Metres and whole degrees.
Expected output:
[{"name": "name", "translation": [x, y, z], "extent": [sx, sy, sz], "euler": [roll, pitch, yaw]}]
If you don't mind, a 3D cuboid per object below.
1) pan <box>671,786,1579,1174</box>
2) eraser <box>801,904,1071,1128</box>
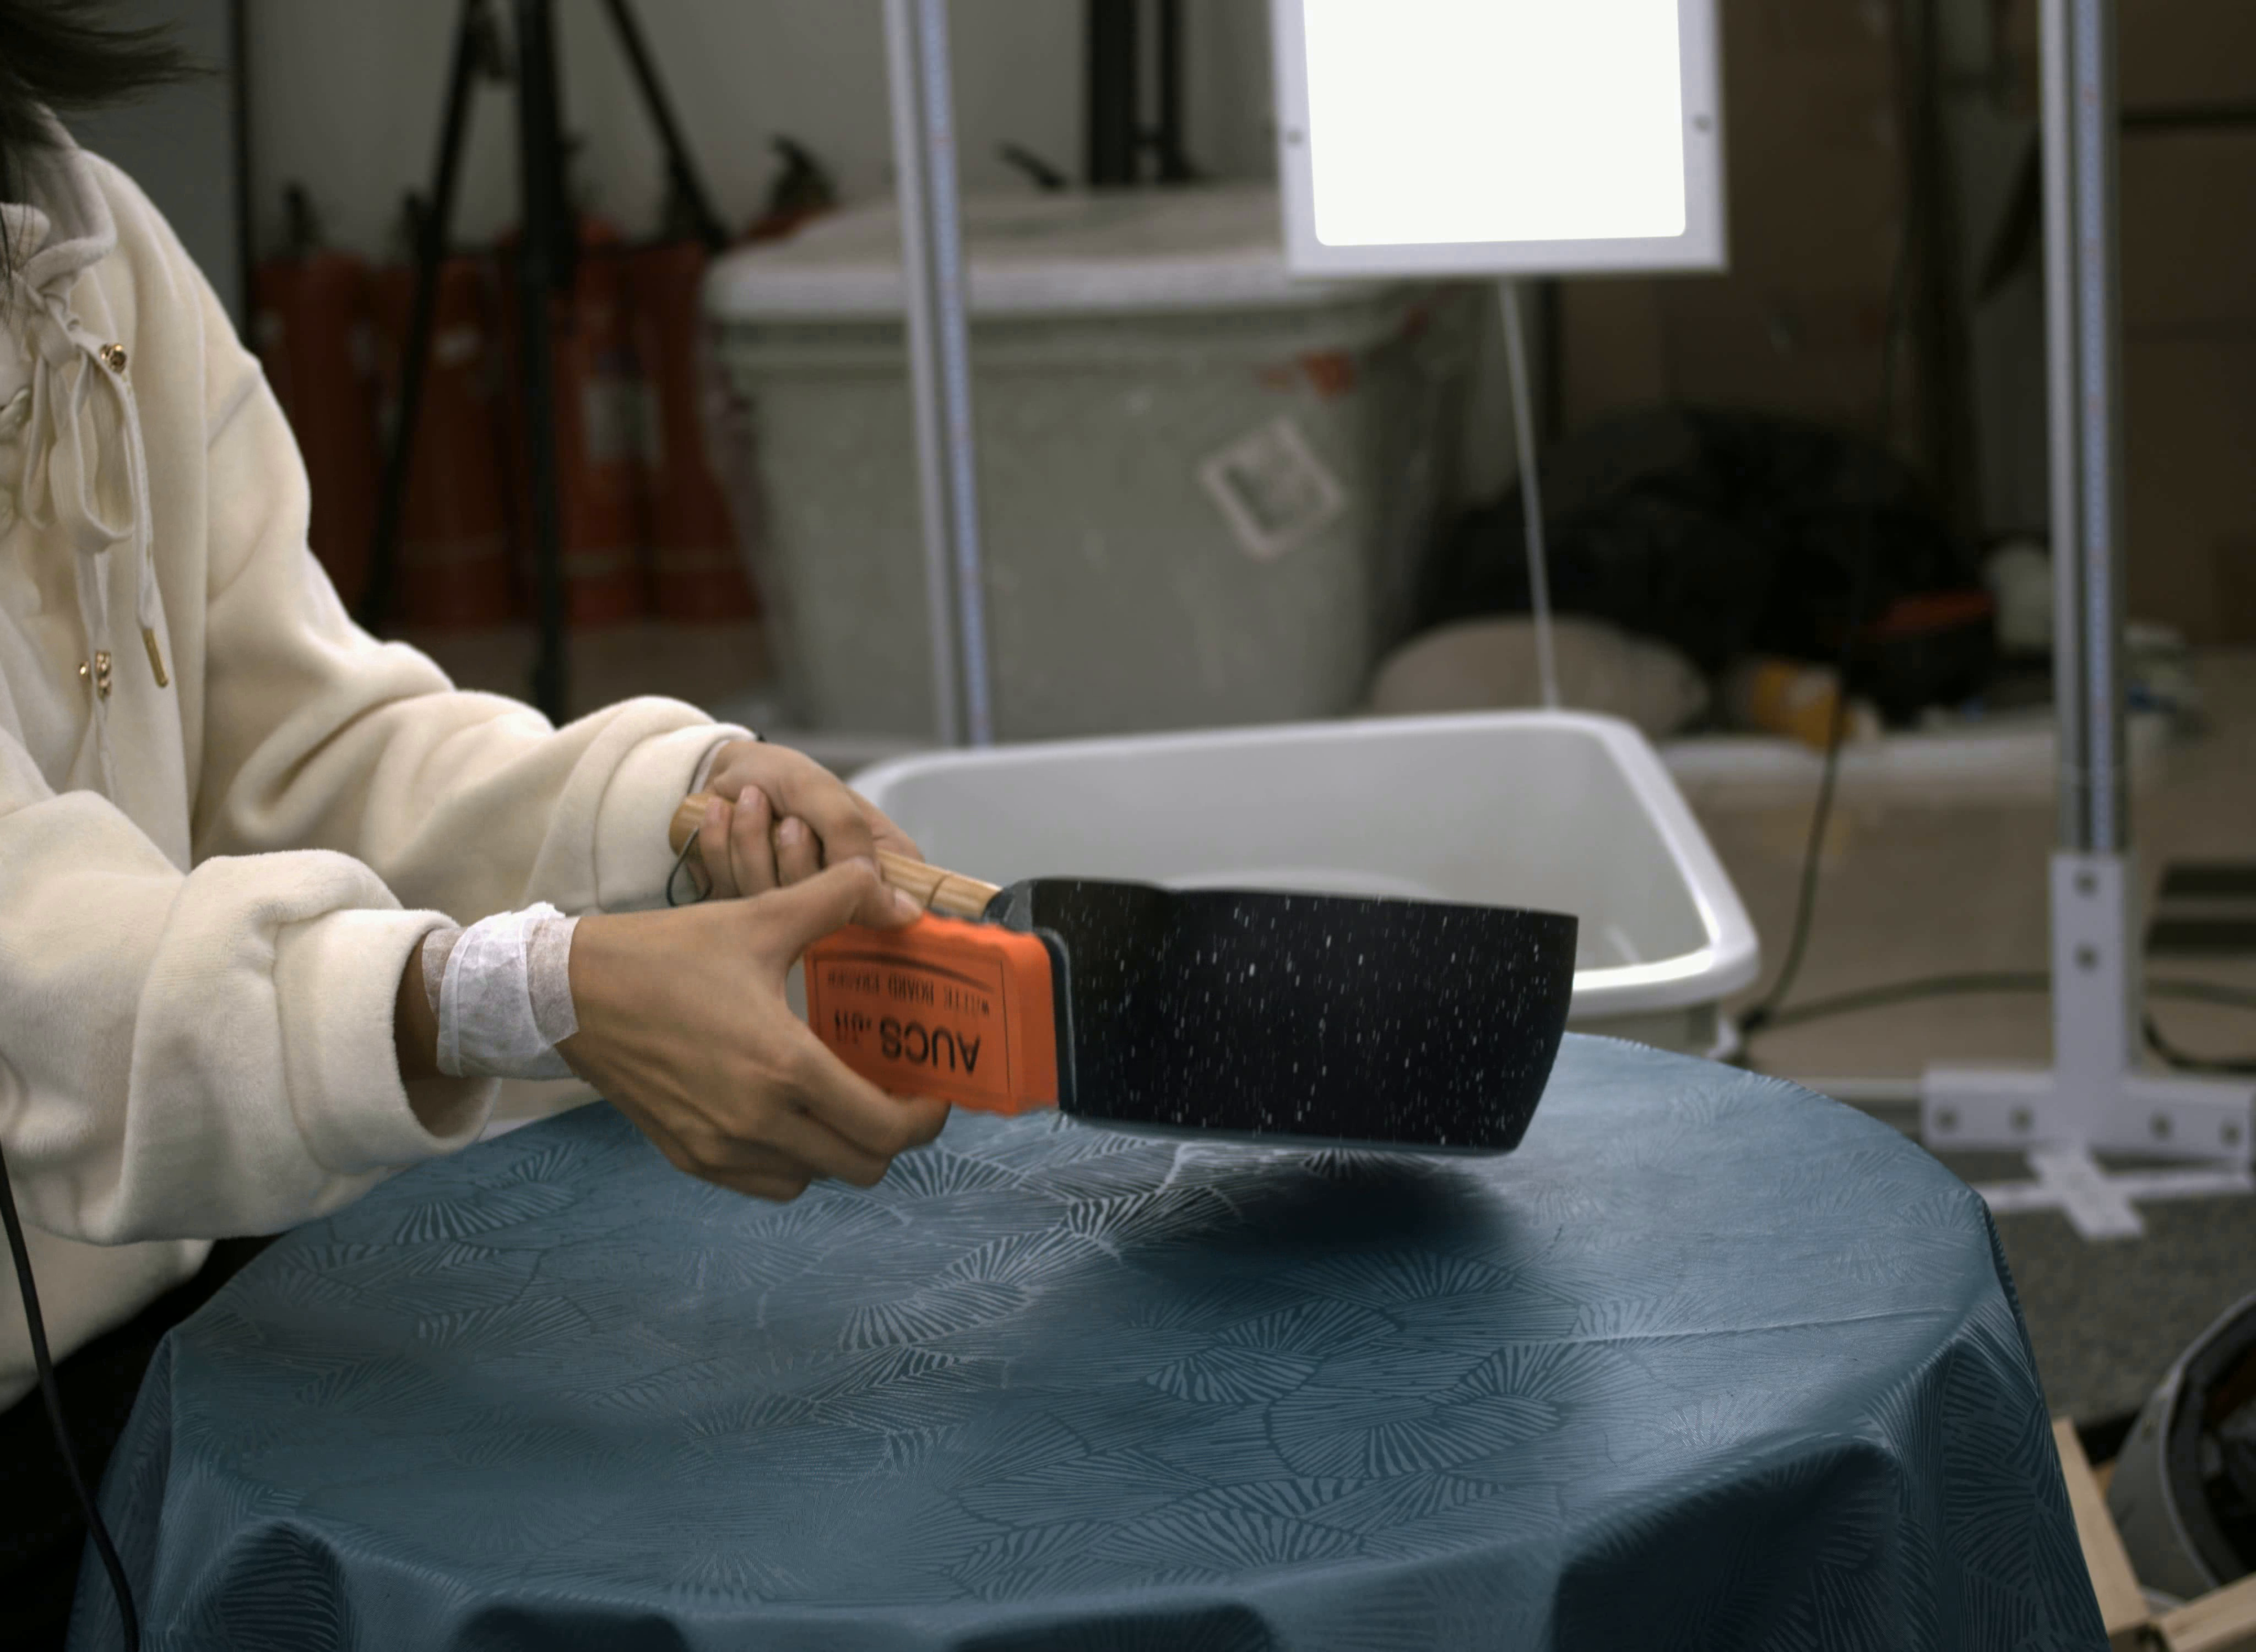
[{"name": "pan", "translation": [-0.013, 0.051, 1.894], "extent": [0.348, 0.108, 0.203], "euler": [5, 0, 27]}, {"name": "eraser", "translation": [-0.061, 0.060, 1.750], "extent": [0.022, 0.059, 0.110], "euler": [-12, 14, -40]}]
